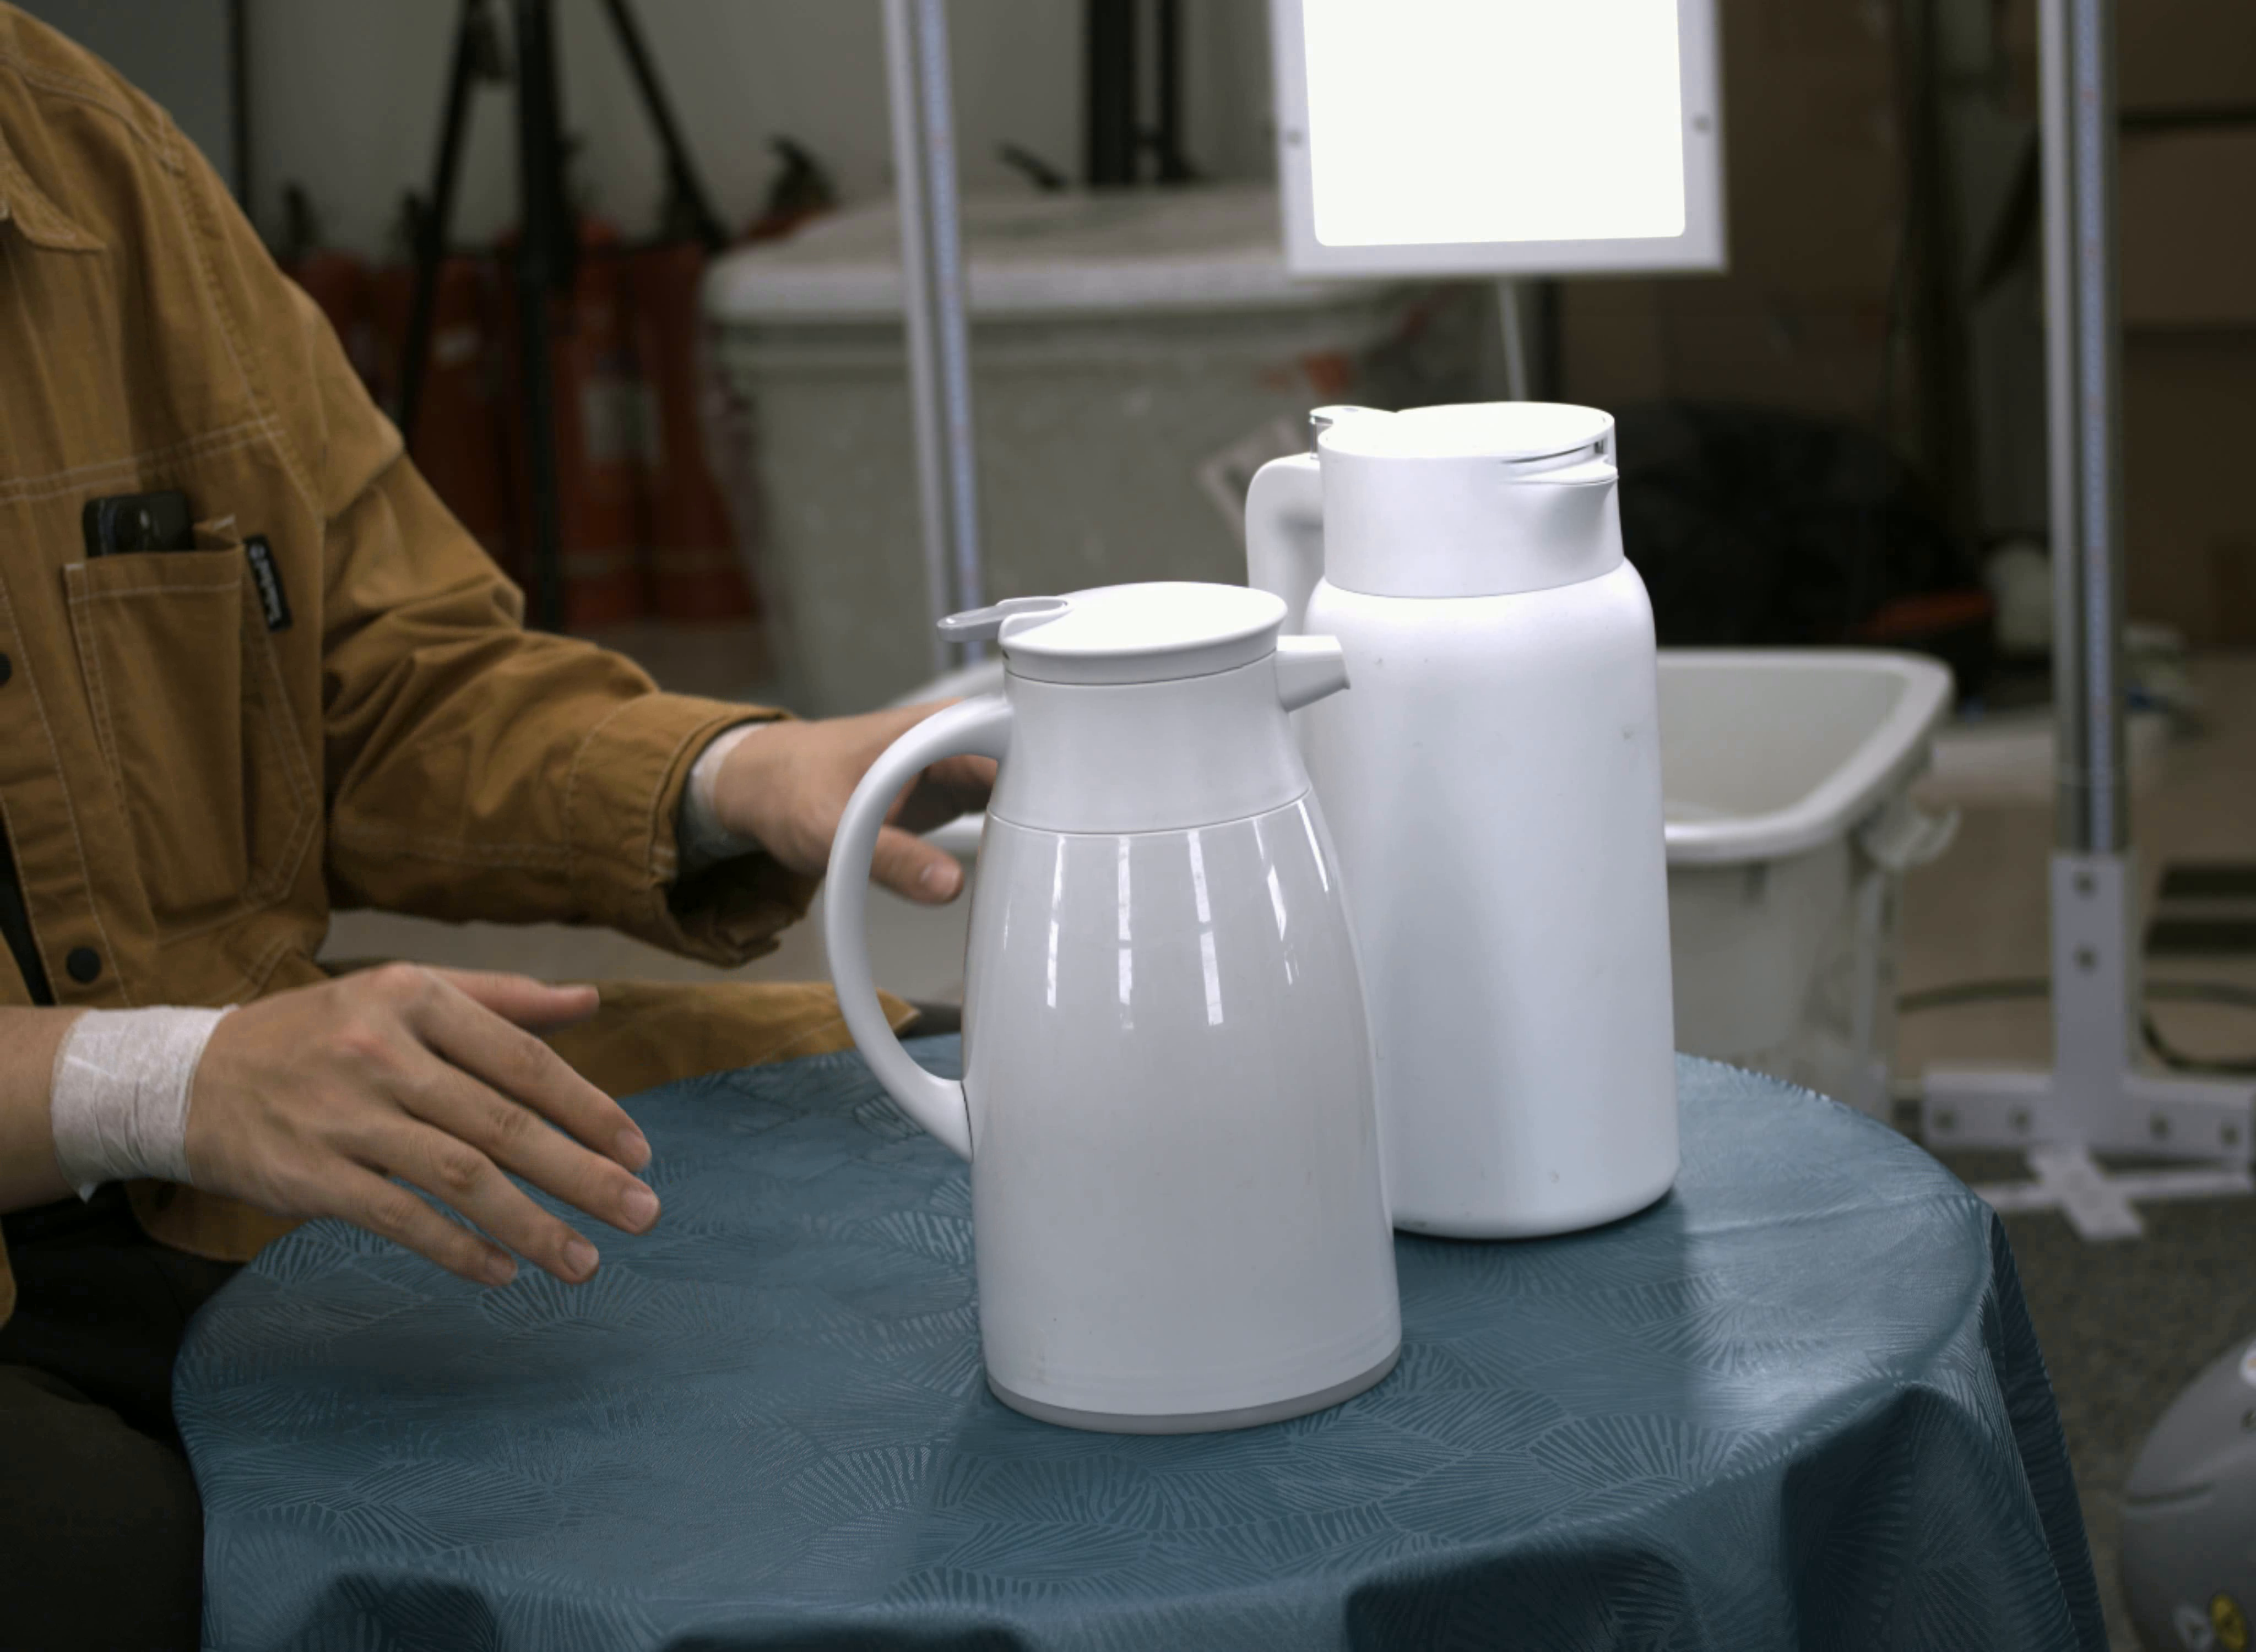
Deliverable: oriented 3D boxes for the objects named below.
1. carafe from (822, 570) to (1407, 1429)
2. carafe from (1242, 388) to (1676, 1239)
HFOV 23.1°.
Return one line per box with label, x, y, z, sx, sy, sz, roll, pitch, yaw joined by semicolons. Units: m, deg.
carafe;-0.007;0.049;1.691;0.167;0.249;0.132;-6;14;0
carafe;0.107;-0.007;1.839;0.121;0.270;0.176;-17;18;-35
